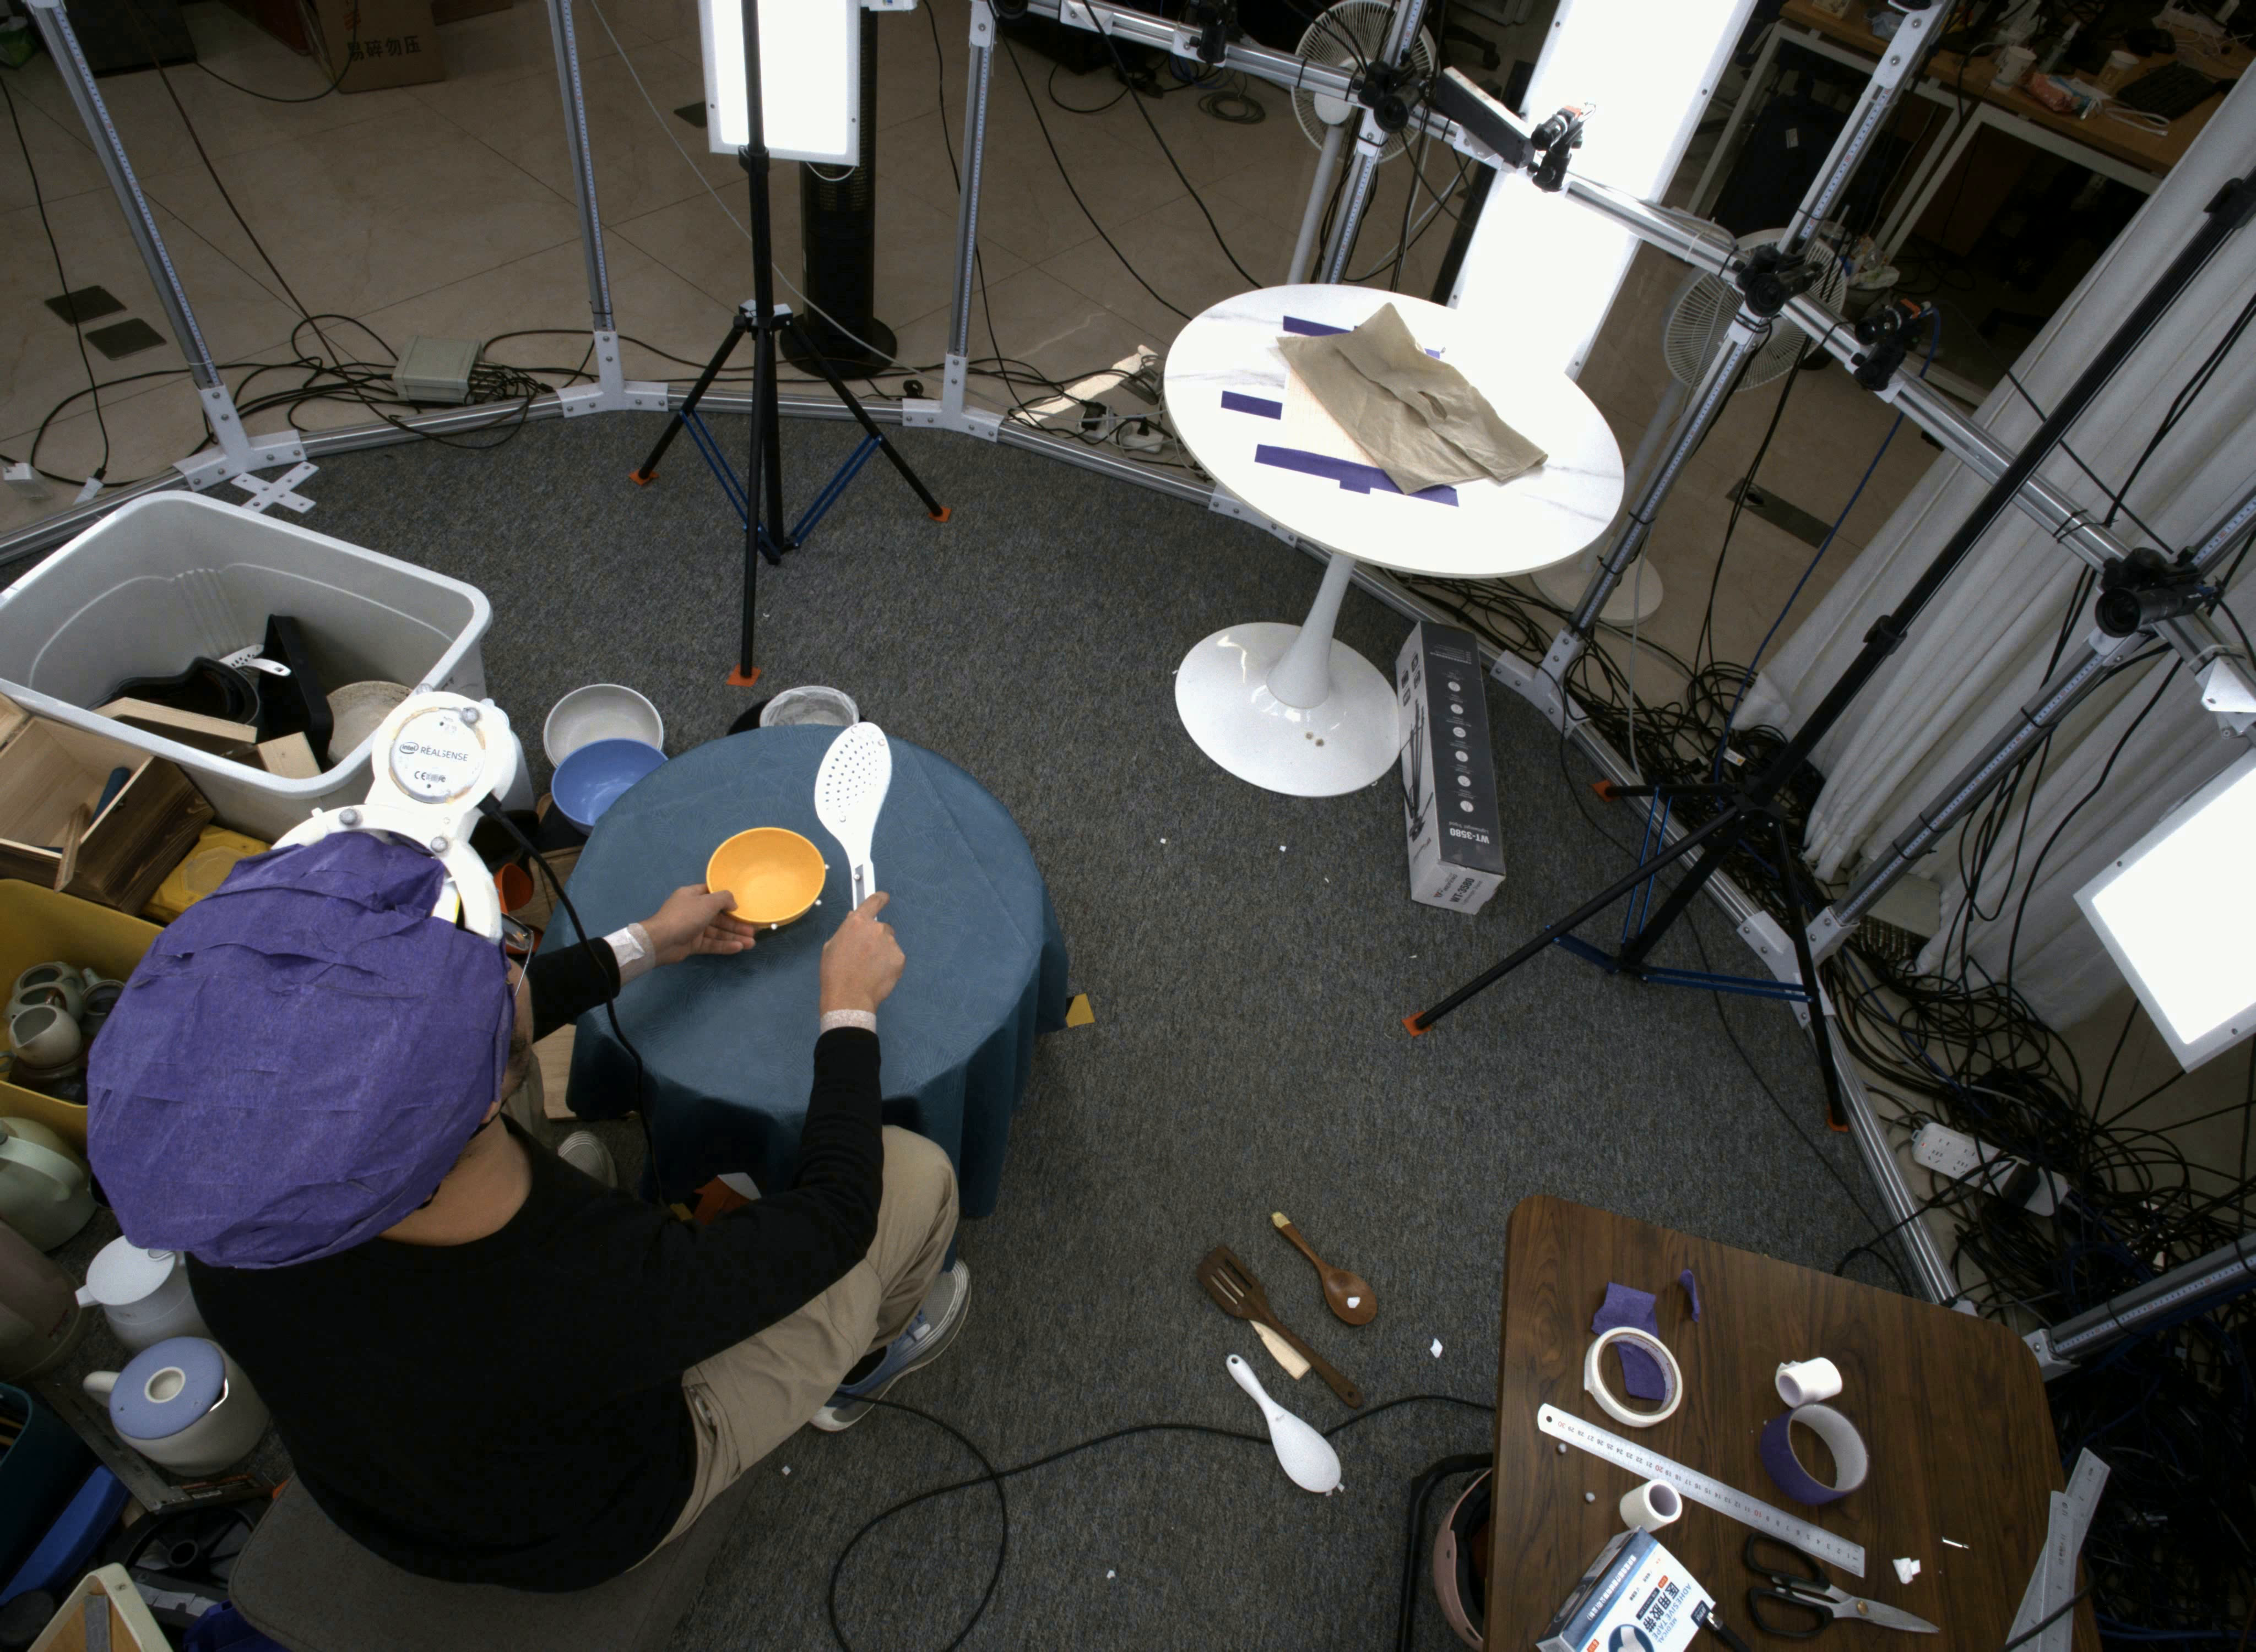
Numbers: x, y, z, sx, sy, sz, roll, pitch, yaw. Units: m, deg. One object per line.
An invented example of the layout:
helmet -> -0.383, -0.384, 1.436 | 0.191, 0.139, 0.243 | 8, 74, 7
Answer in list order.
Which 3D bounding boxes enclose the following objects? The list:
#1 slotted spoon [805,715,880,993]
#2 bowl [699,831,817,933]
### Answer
slotted spoon -> -0.320, 0.027, 1.503 | 0.047, 0.134, 0.343 | 26, 45, -44
bowl -> -0.459, 0.079, 1.618 | 0.144, 0.061, 0.143 | 6, 54, -6
